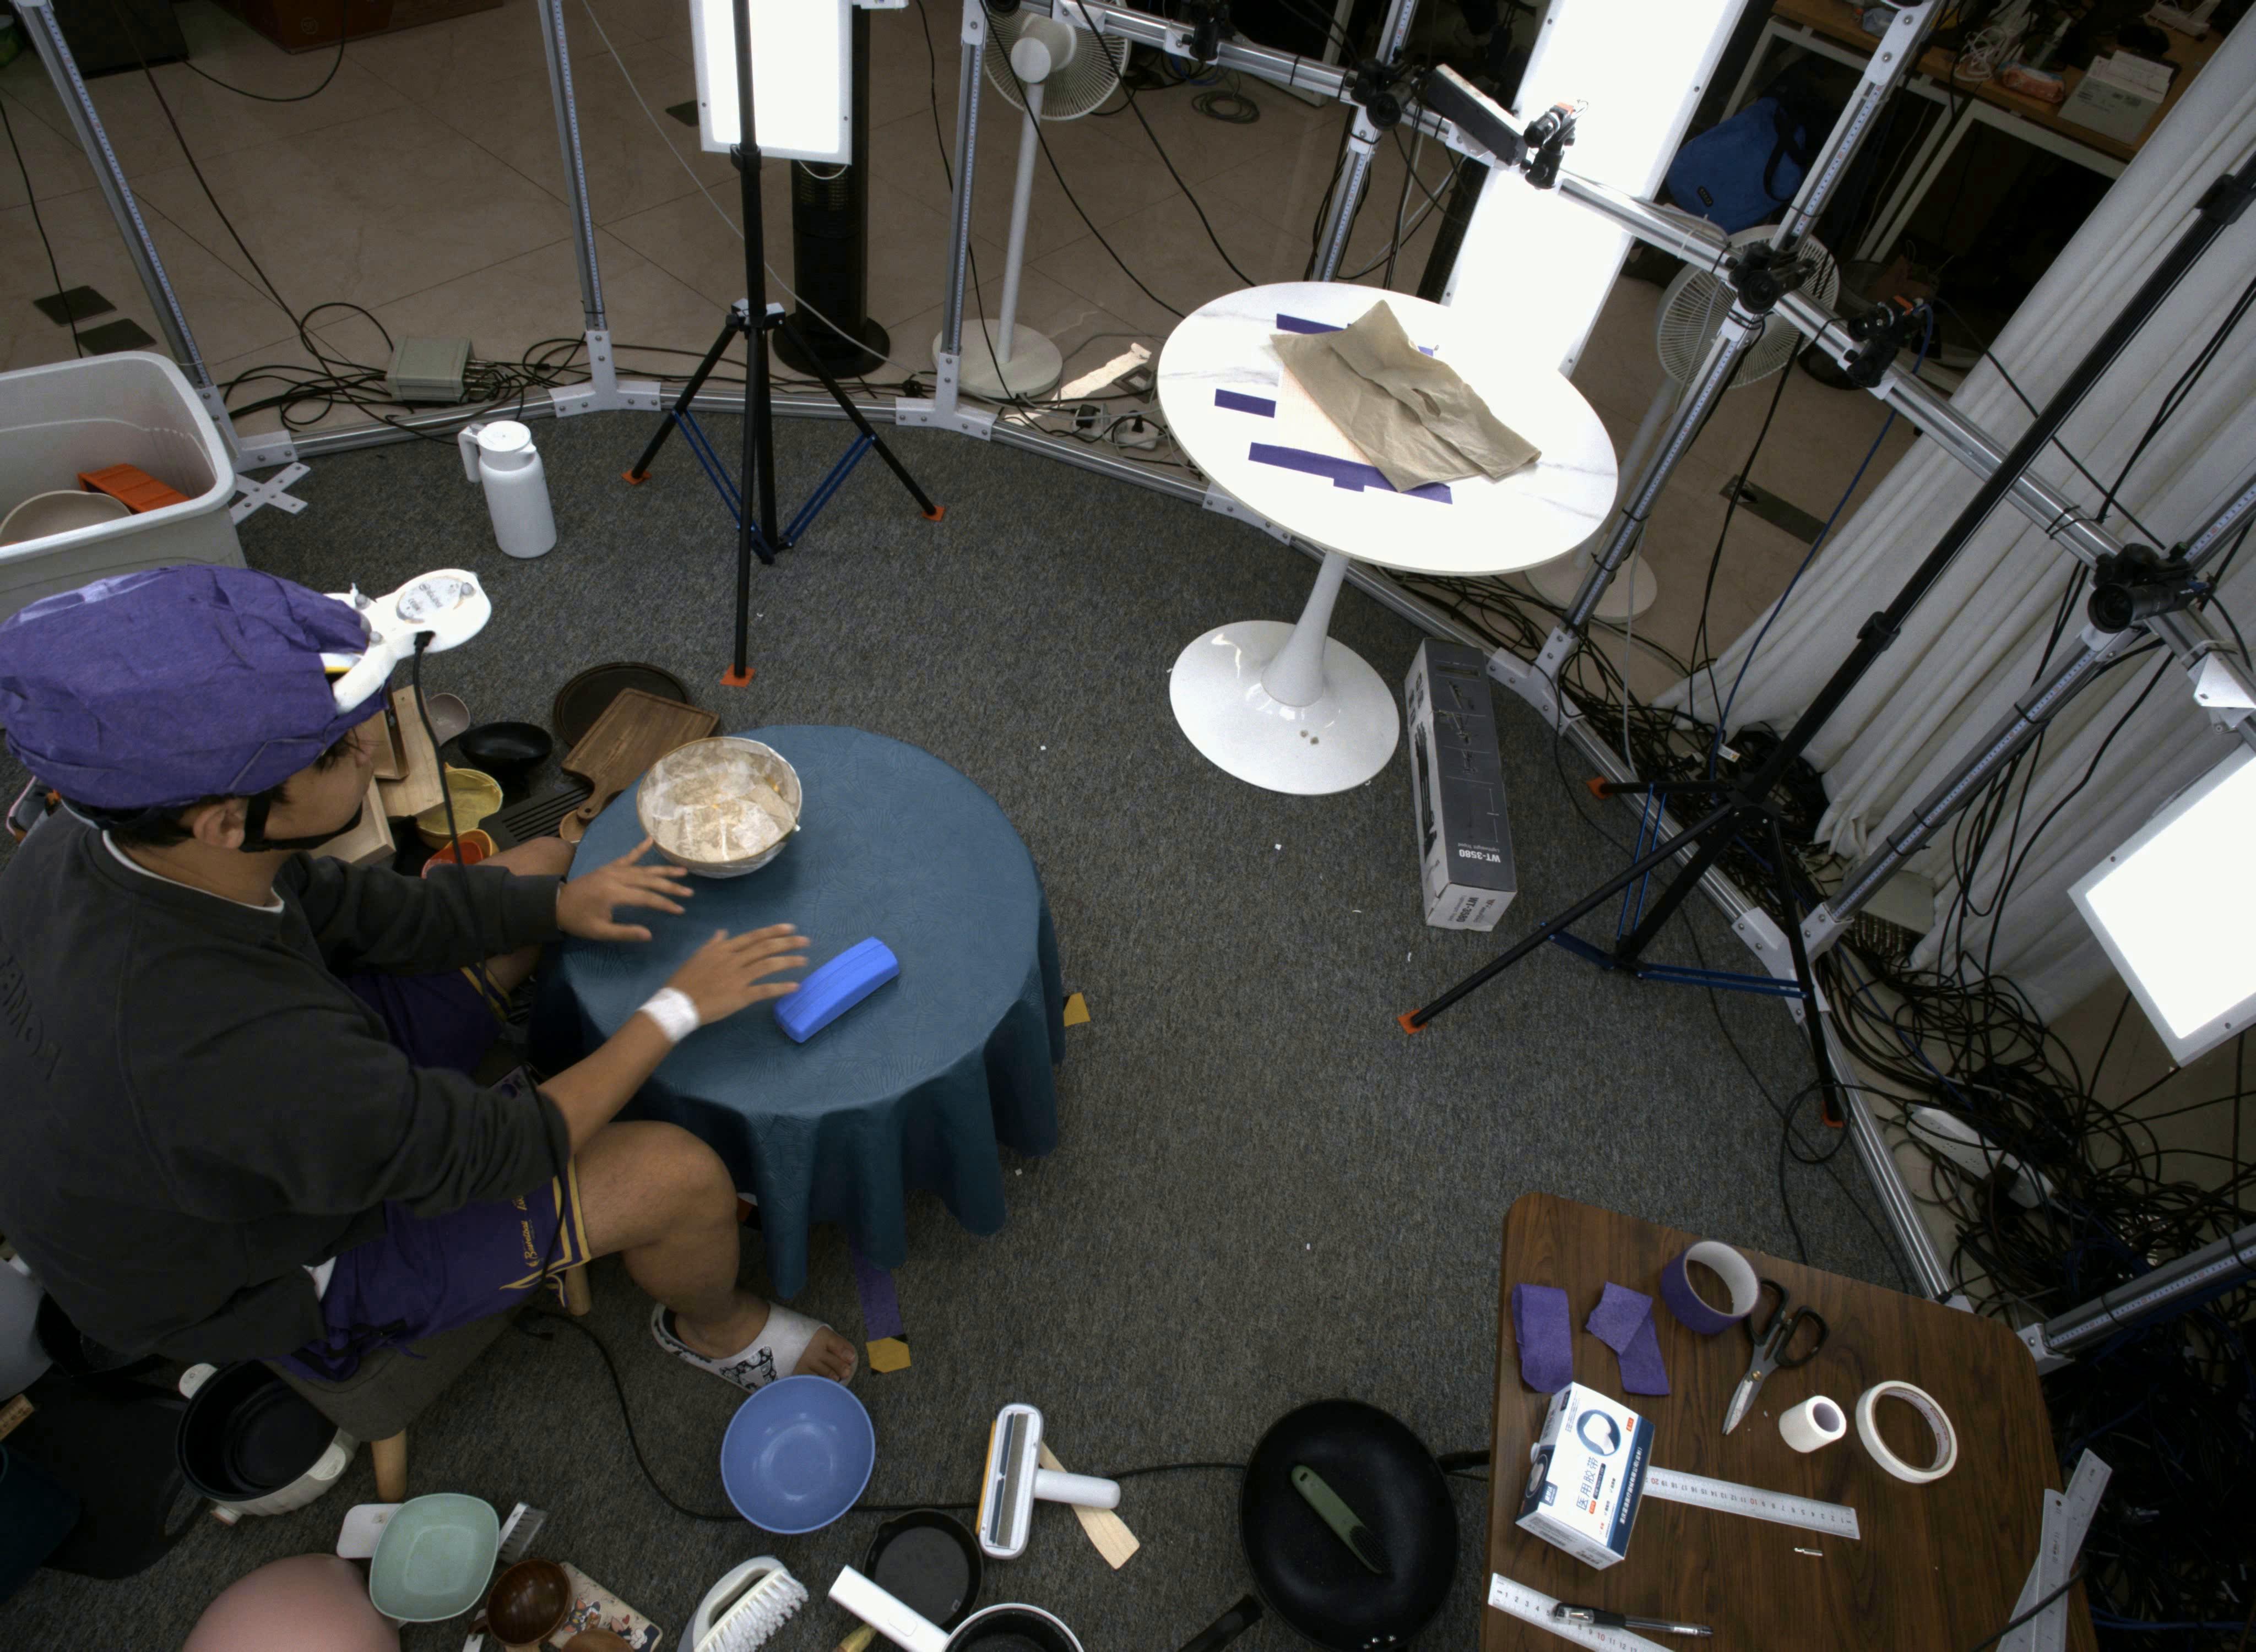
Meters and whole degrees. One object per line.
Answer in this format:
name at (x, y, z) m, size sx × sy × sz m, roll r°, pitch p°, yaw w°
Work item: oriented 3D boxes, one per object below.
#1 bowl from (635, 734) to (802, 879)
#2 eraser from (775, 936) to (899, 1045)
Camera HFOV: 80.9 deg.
bowl at (-0.523, -0.010, 1.651) m, size 0.214 × 0.096 × 0.211 m, roll 8°, pitch 54°, yaw -9°
eraser at (-0.352, 0.193, 1.575) m, size 0.053 × 0.048 × 0.162 m, roll 42°, pitch 56°, yaw 15°
